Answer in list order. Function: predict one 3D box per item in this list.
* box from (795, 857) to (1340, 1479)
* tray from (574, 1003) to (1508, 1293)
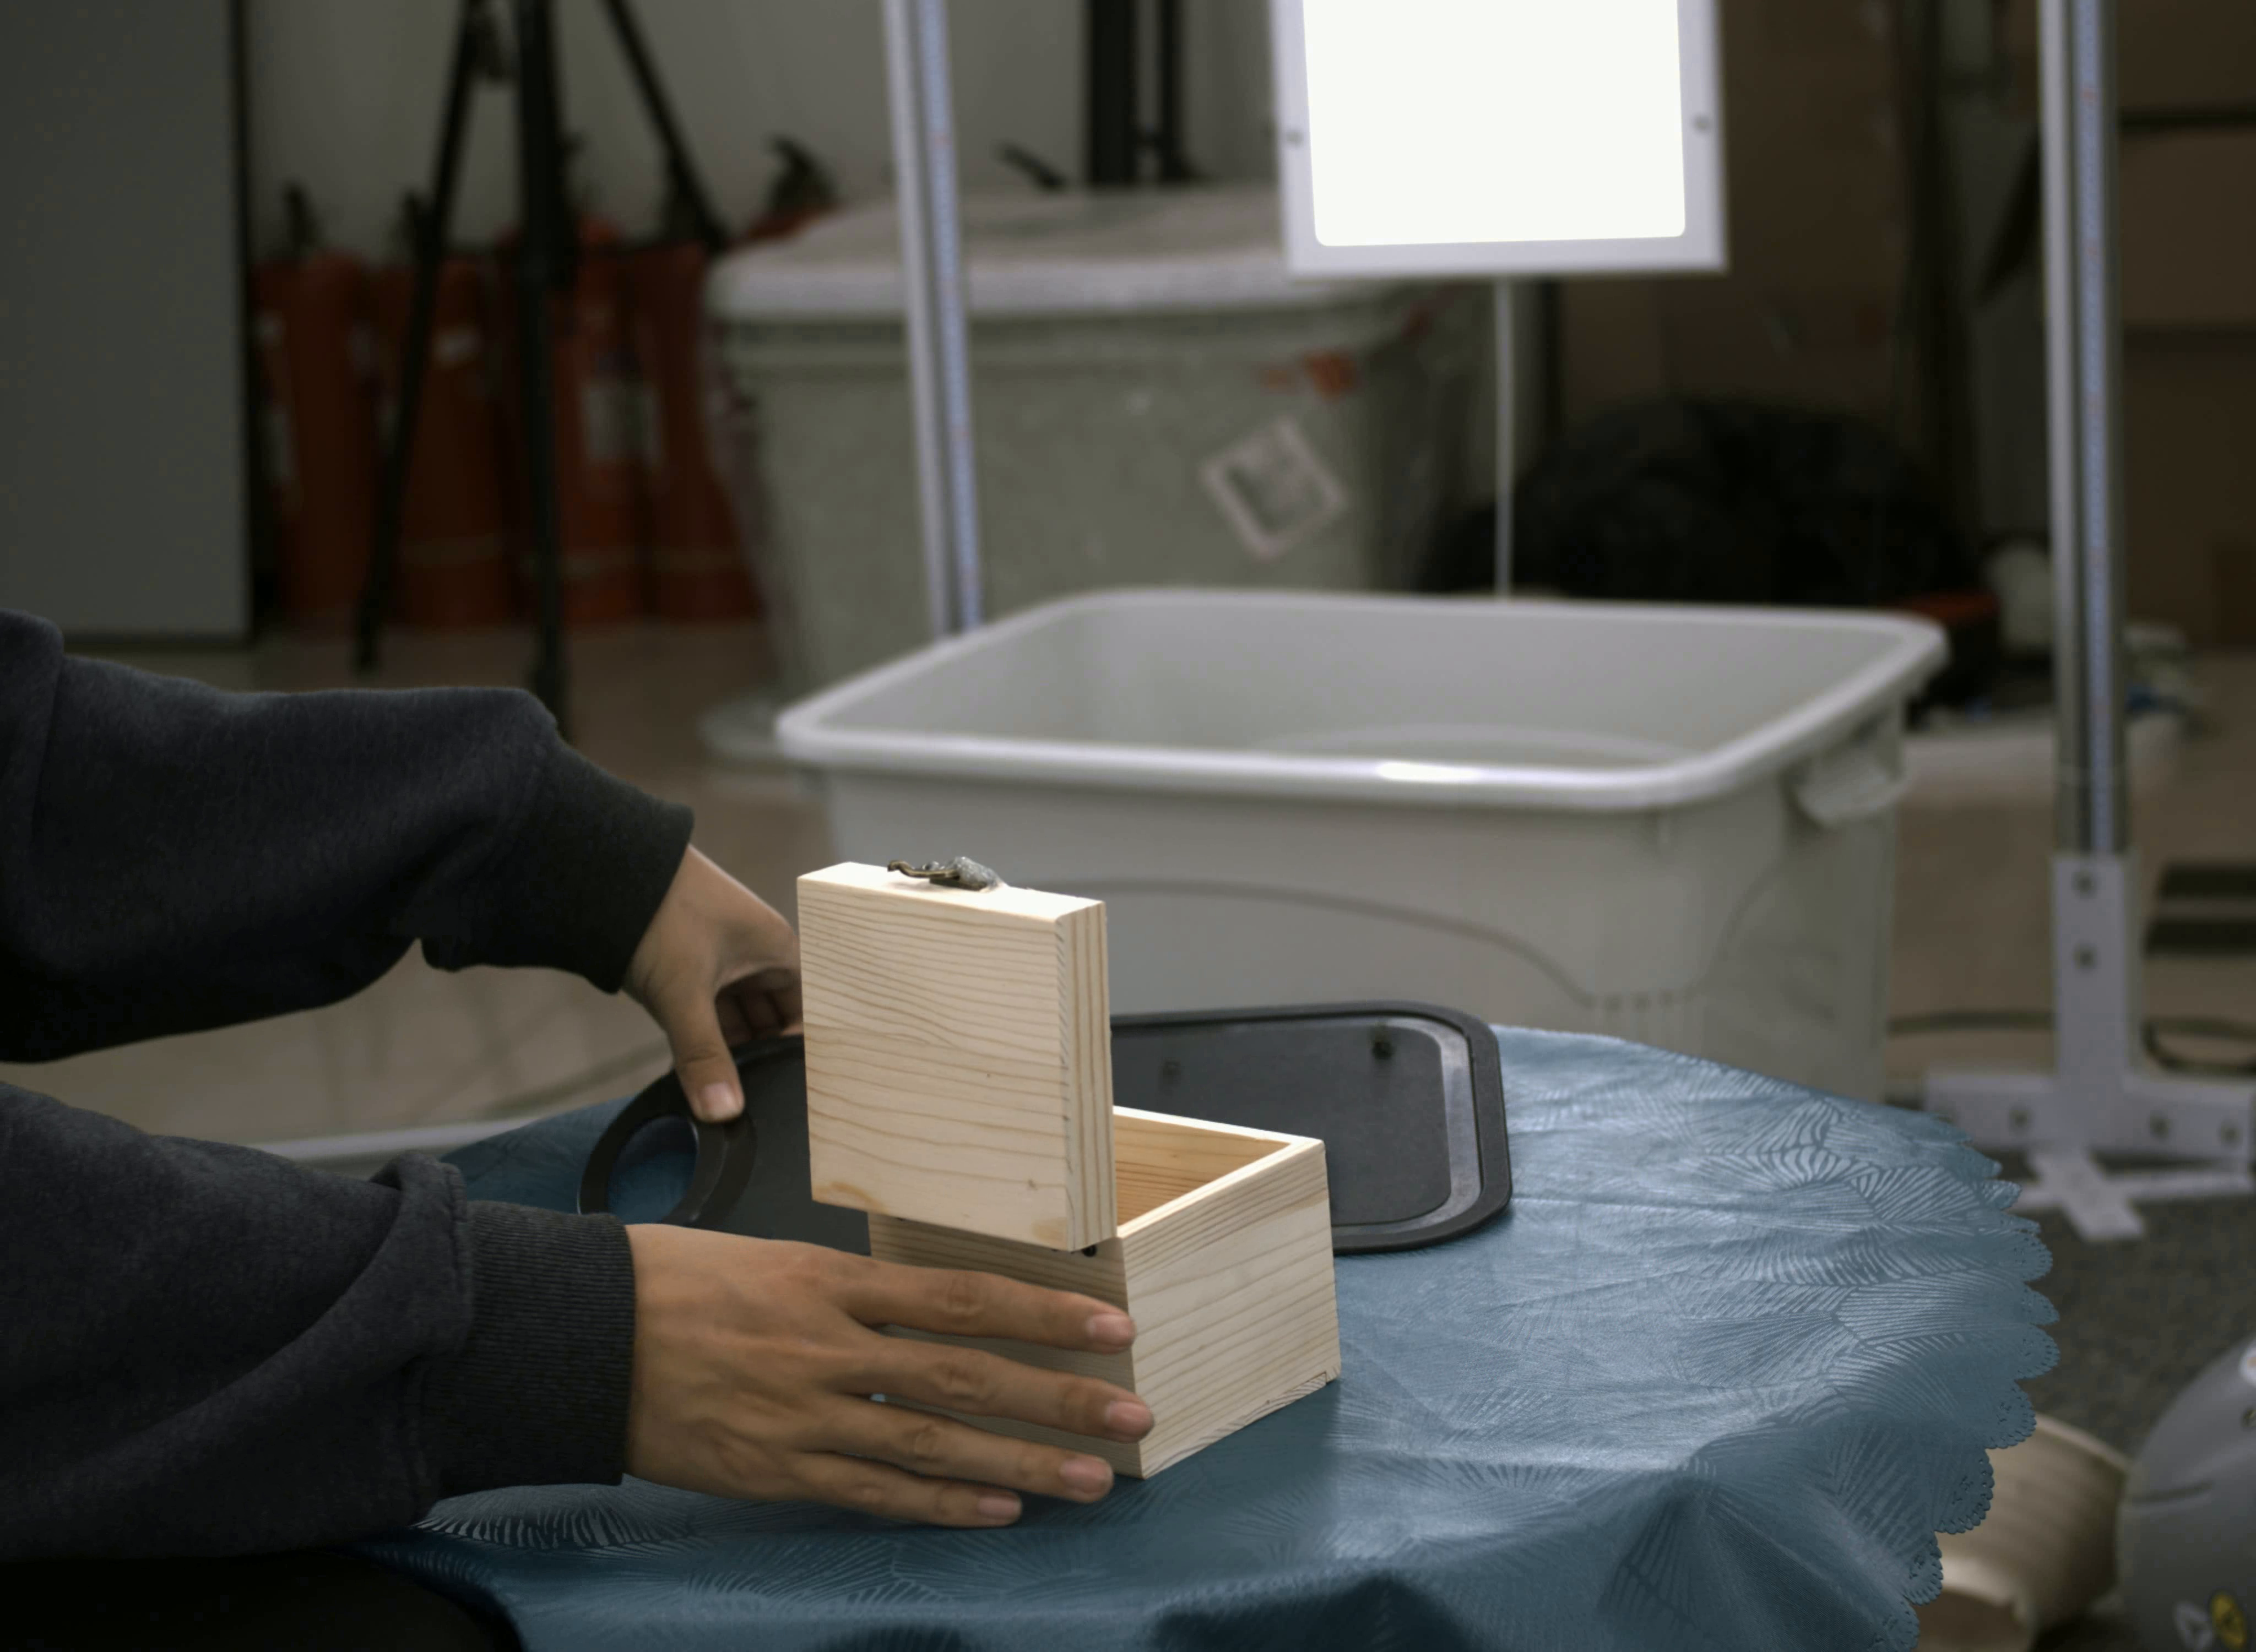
[{"bbox_3d":[-0.016,0.090,1.661,0.105,0.185,0.130,7,19,39],"label":"box"},{"bbox_3d":[-0.031,0.109,1.916,0.326,0.010,0.210,-4,21,6],"label":"tray"}]
